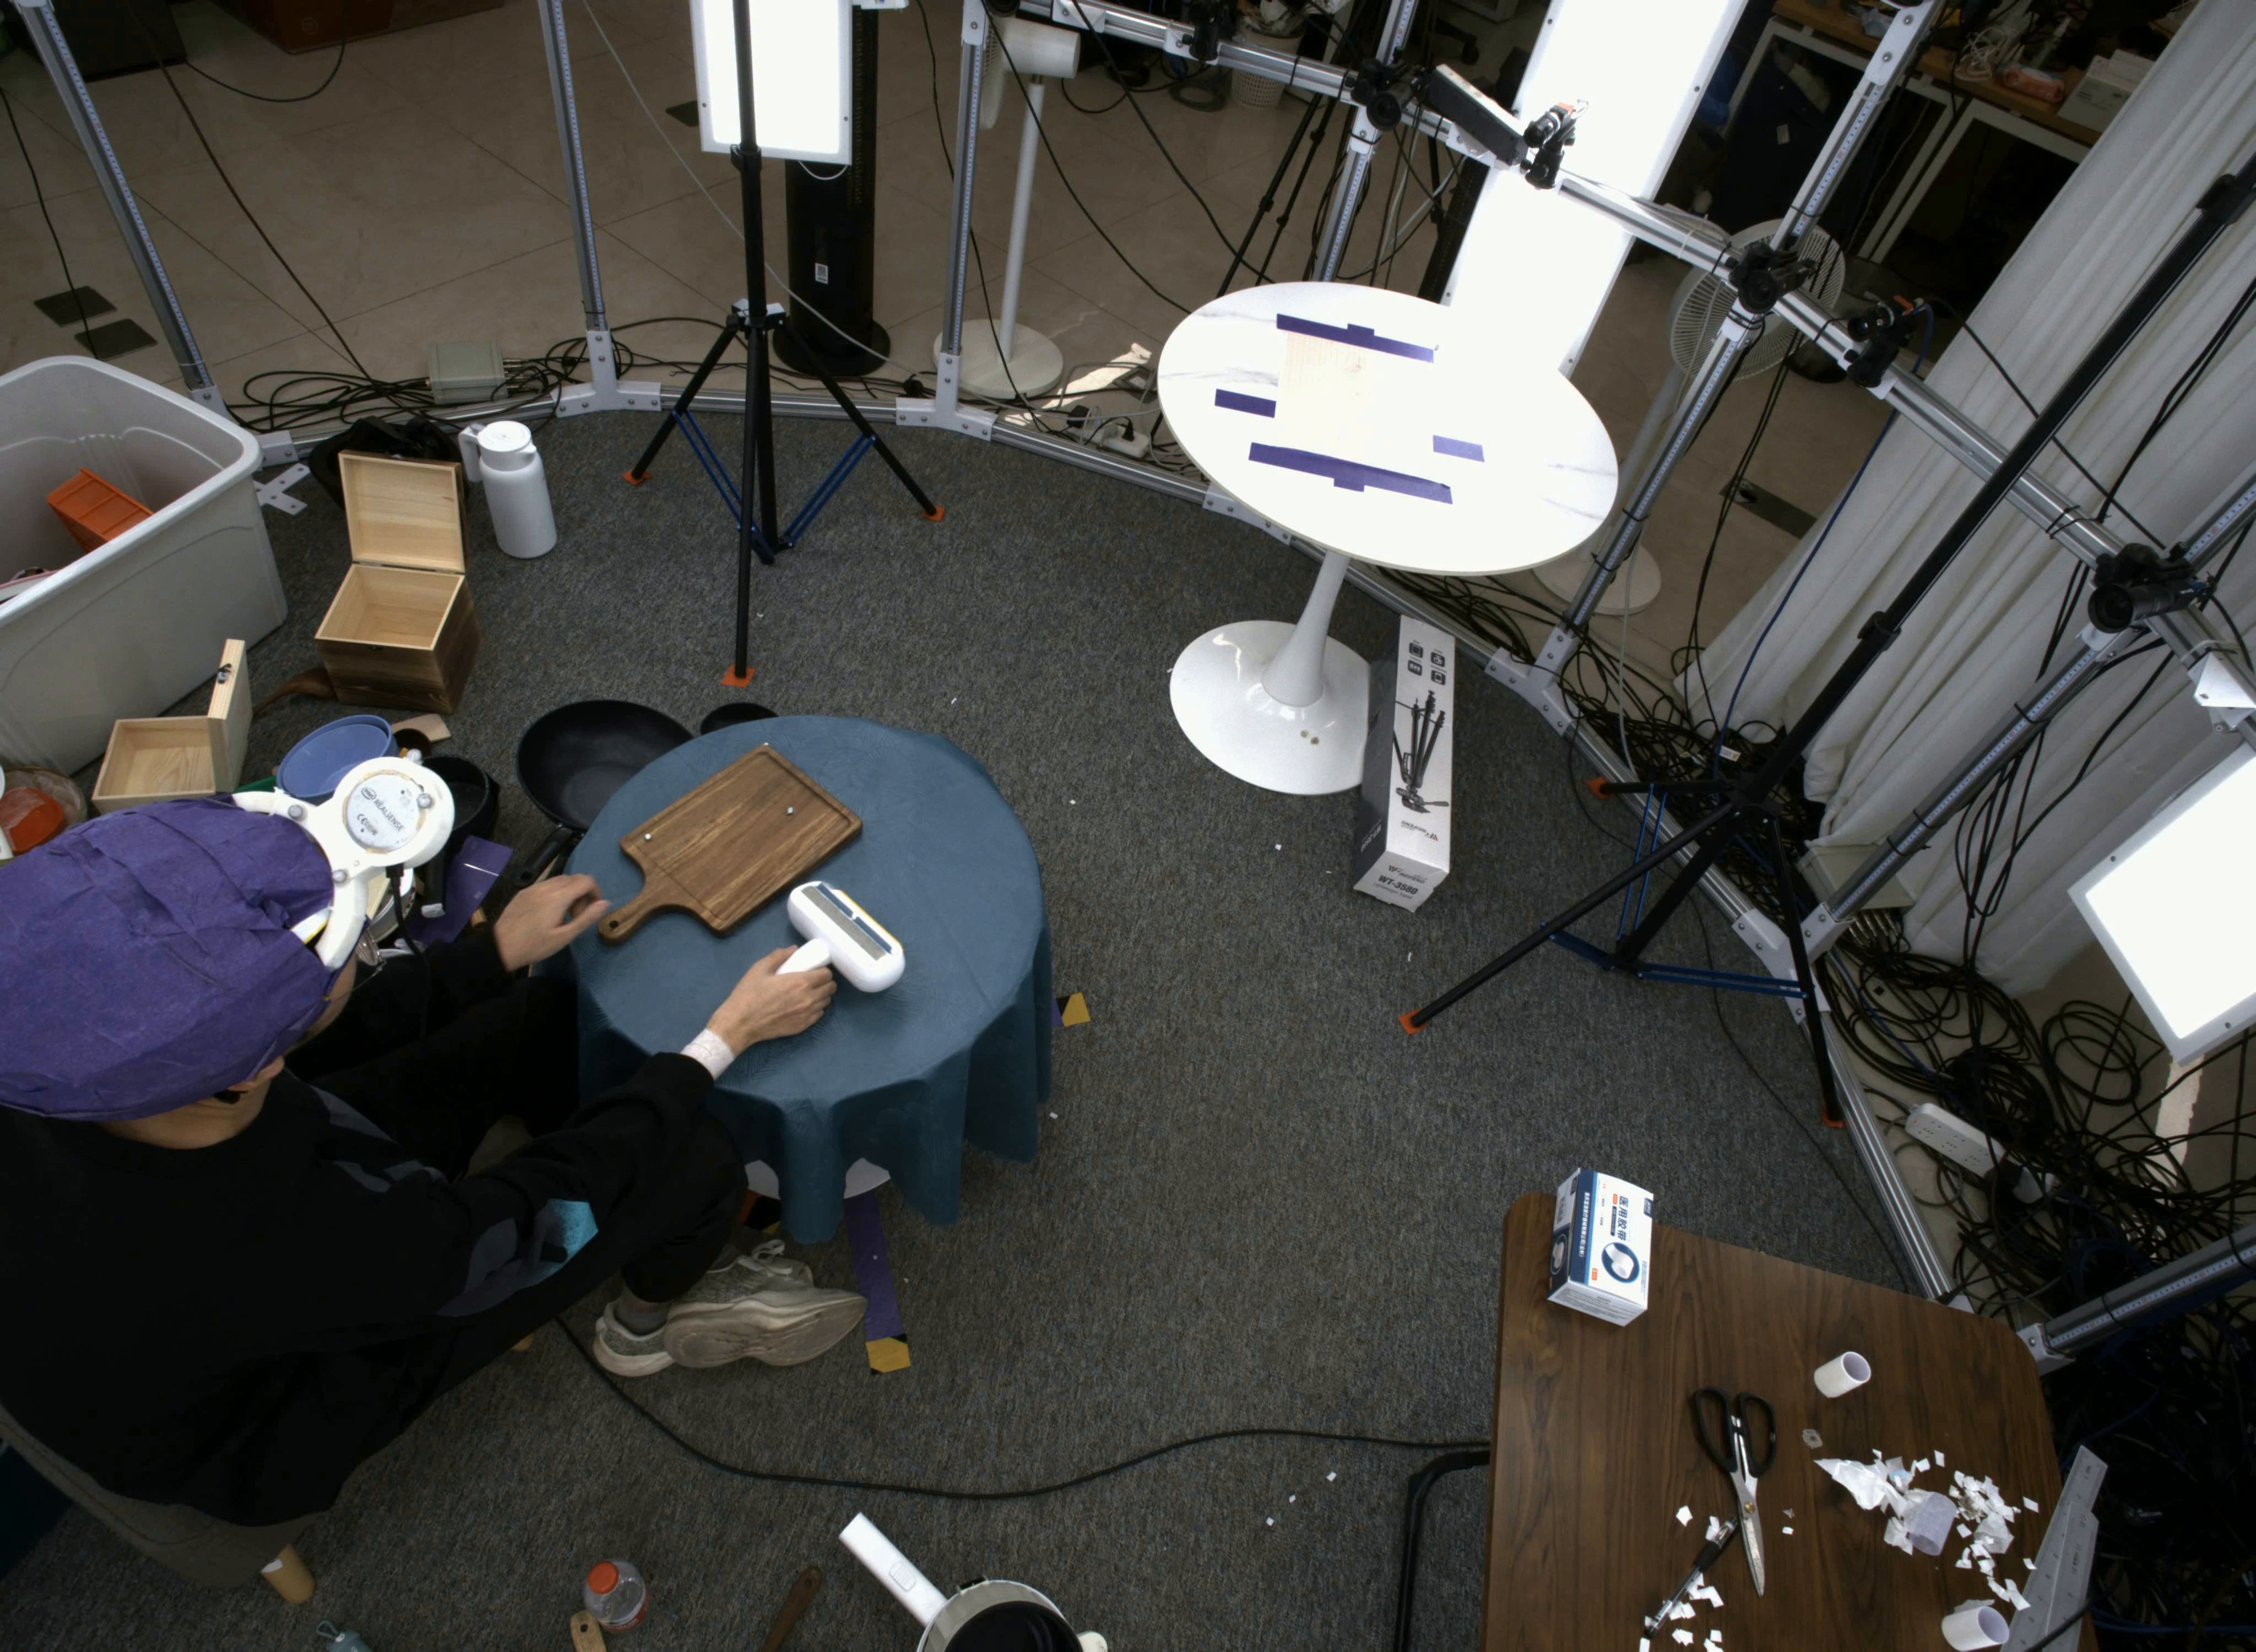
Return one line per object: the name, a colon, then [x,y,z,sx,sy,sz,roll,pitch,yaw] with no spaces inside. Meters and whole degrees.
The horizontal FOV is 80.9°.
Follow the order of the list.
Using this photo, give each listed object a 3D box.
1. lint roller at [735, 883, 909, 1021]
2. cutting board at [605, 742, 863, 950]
lint roller: [-0.387,0.165,1.566,0.193,0.076,0.186,-28,55,-31]
cutting board: [-0.531,0.039,1.660,0.197,0.023,0.352,37,54,13]
